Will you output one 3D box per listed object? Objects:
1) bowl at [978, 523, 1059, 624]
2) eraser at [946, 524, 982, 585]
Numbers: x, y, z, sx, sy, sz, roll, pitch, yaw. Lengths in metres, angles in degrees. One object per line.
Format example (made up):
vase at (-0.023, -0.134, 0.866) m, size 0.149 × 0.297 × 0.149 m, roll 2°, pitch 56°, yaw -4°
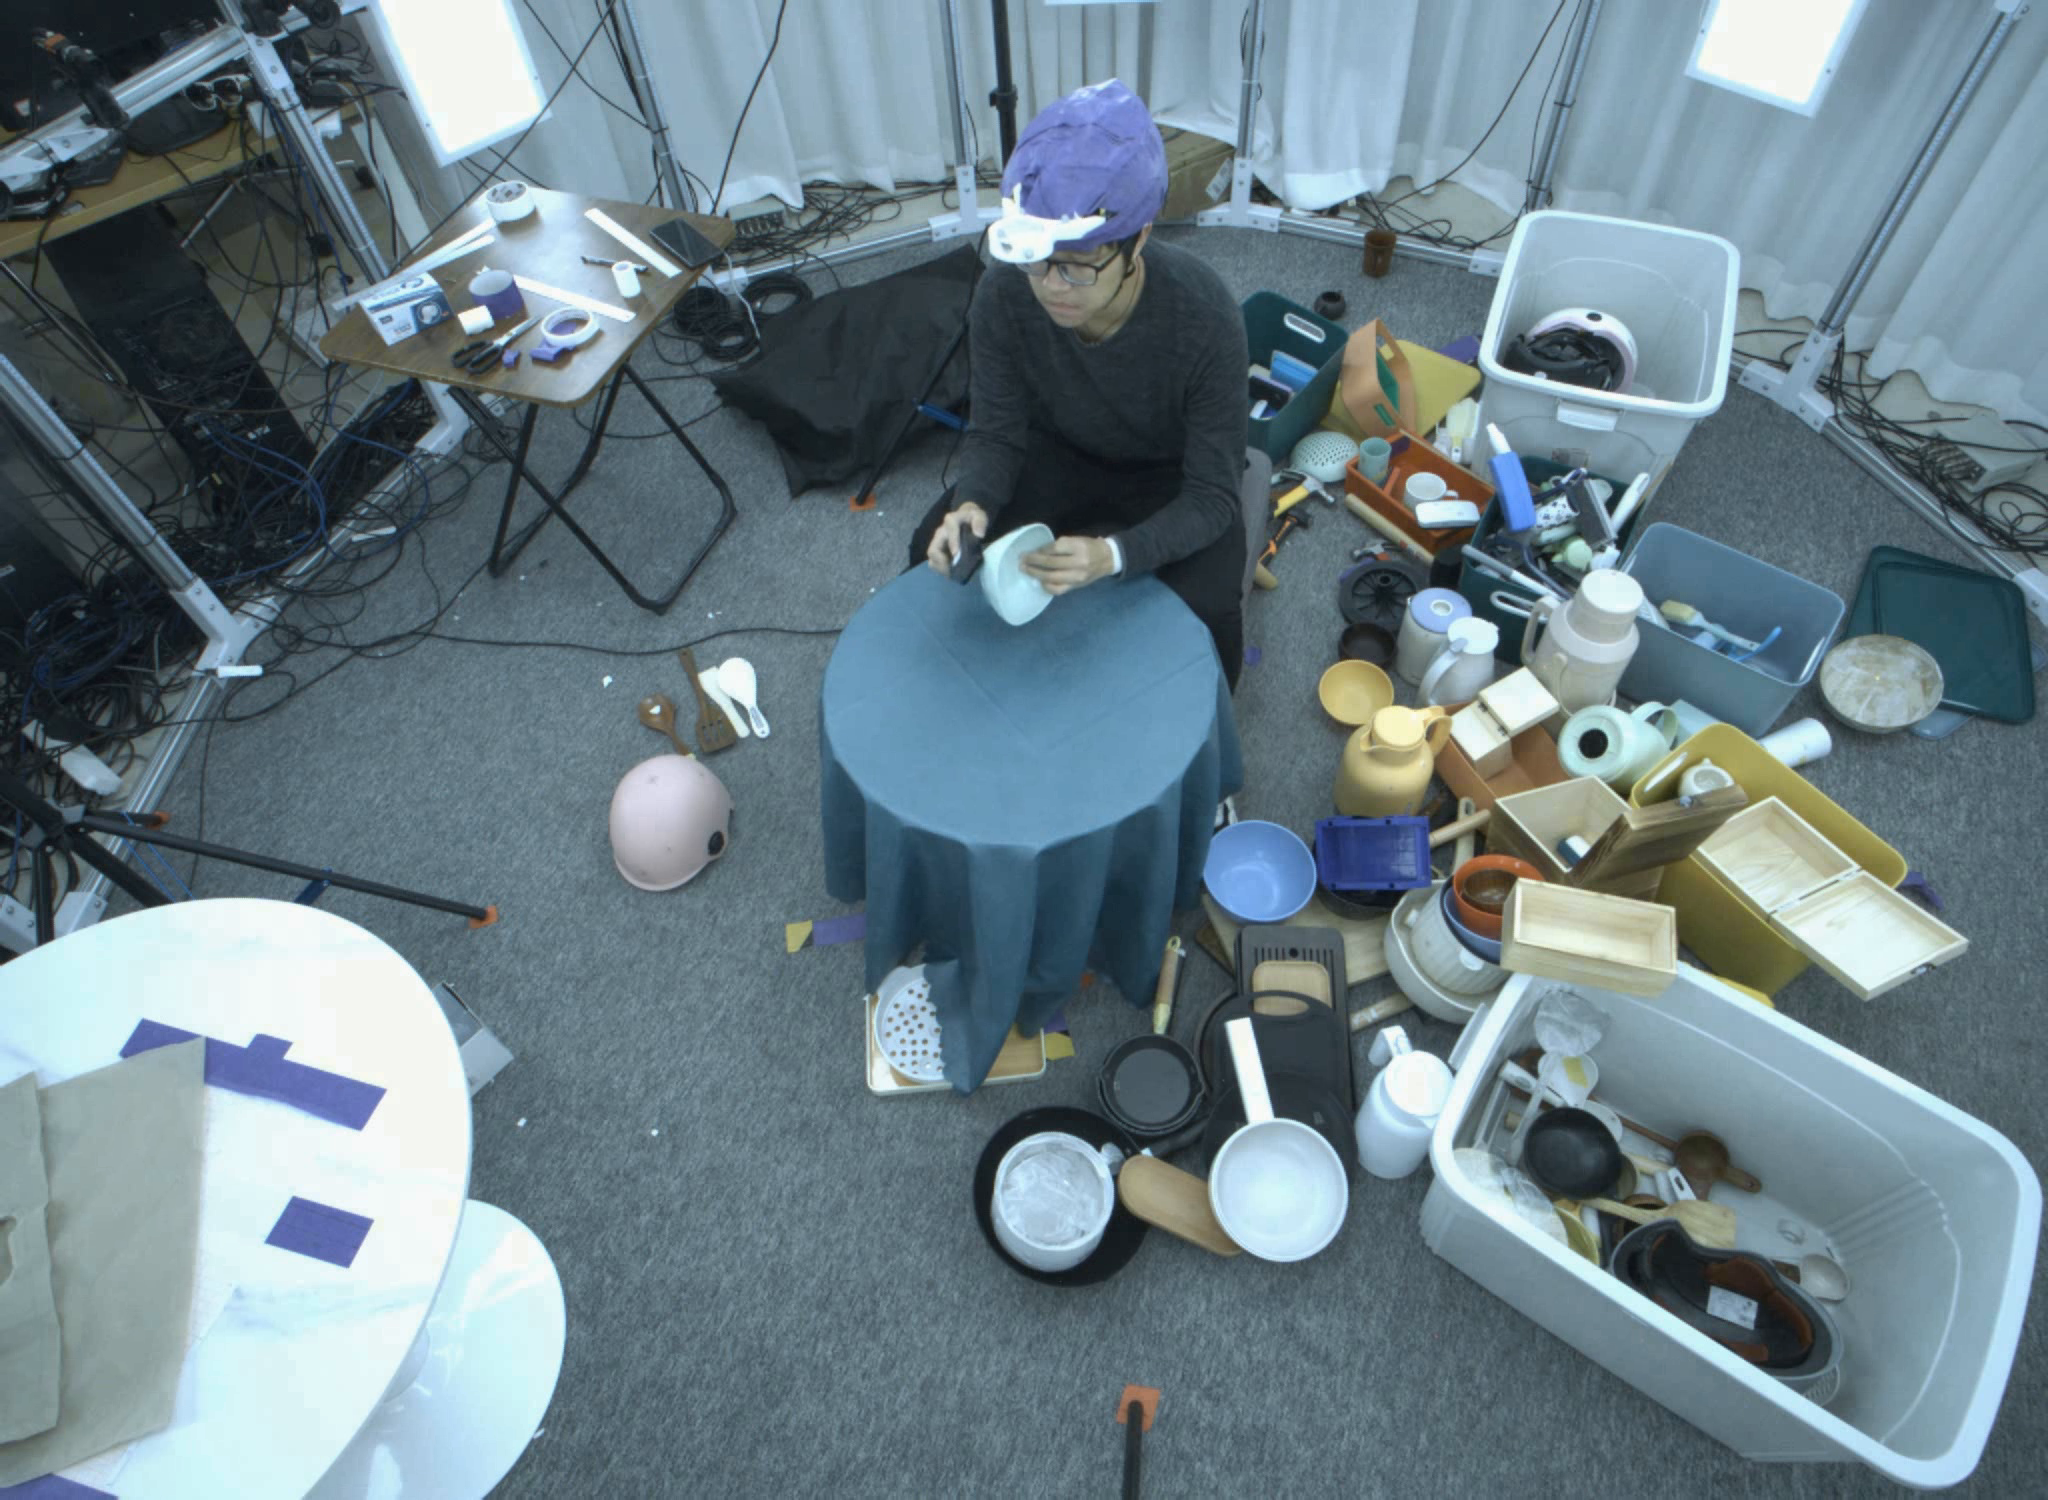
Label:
bowl at (-0.017, -0.262, 1.787) m, size 0.057 × 0.154 × 0.152 m, roll 22°, pitch 58°, yaw 35°
eraser at (-0.089, -0.287, 1.794) m, size 0.031 × 0.053 × 0.124 m, roll 32°, pitch 21°, yaw -20°
